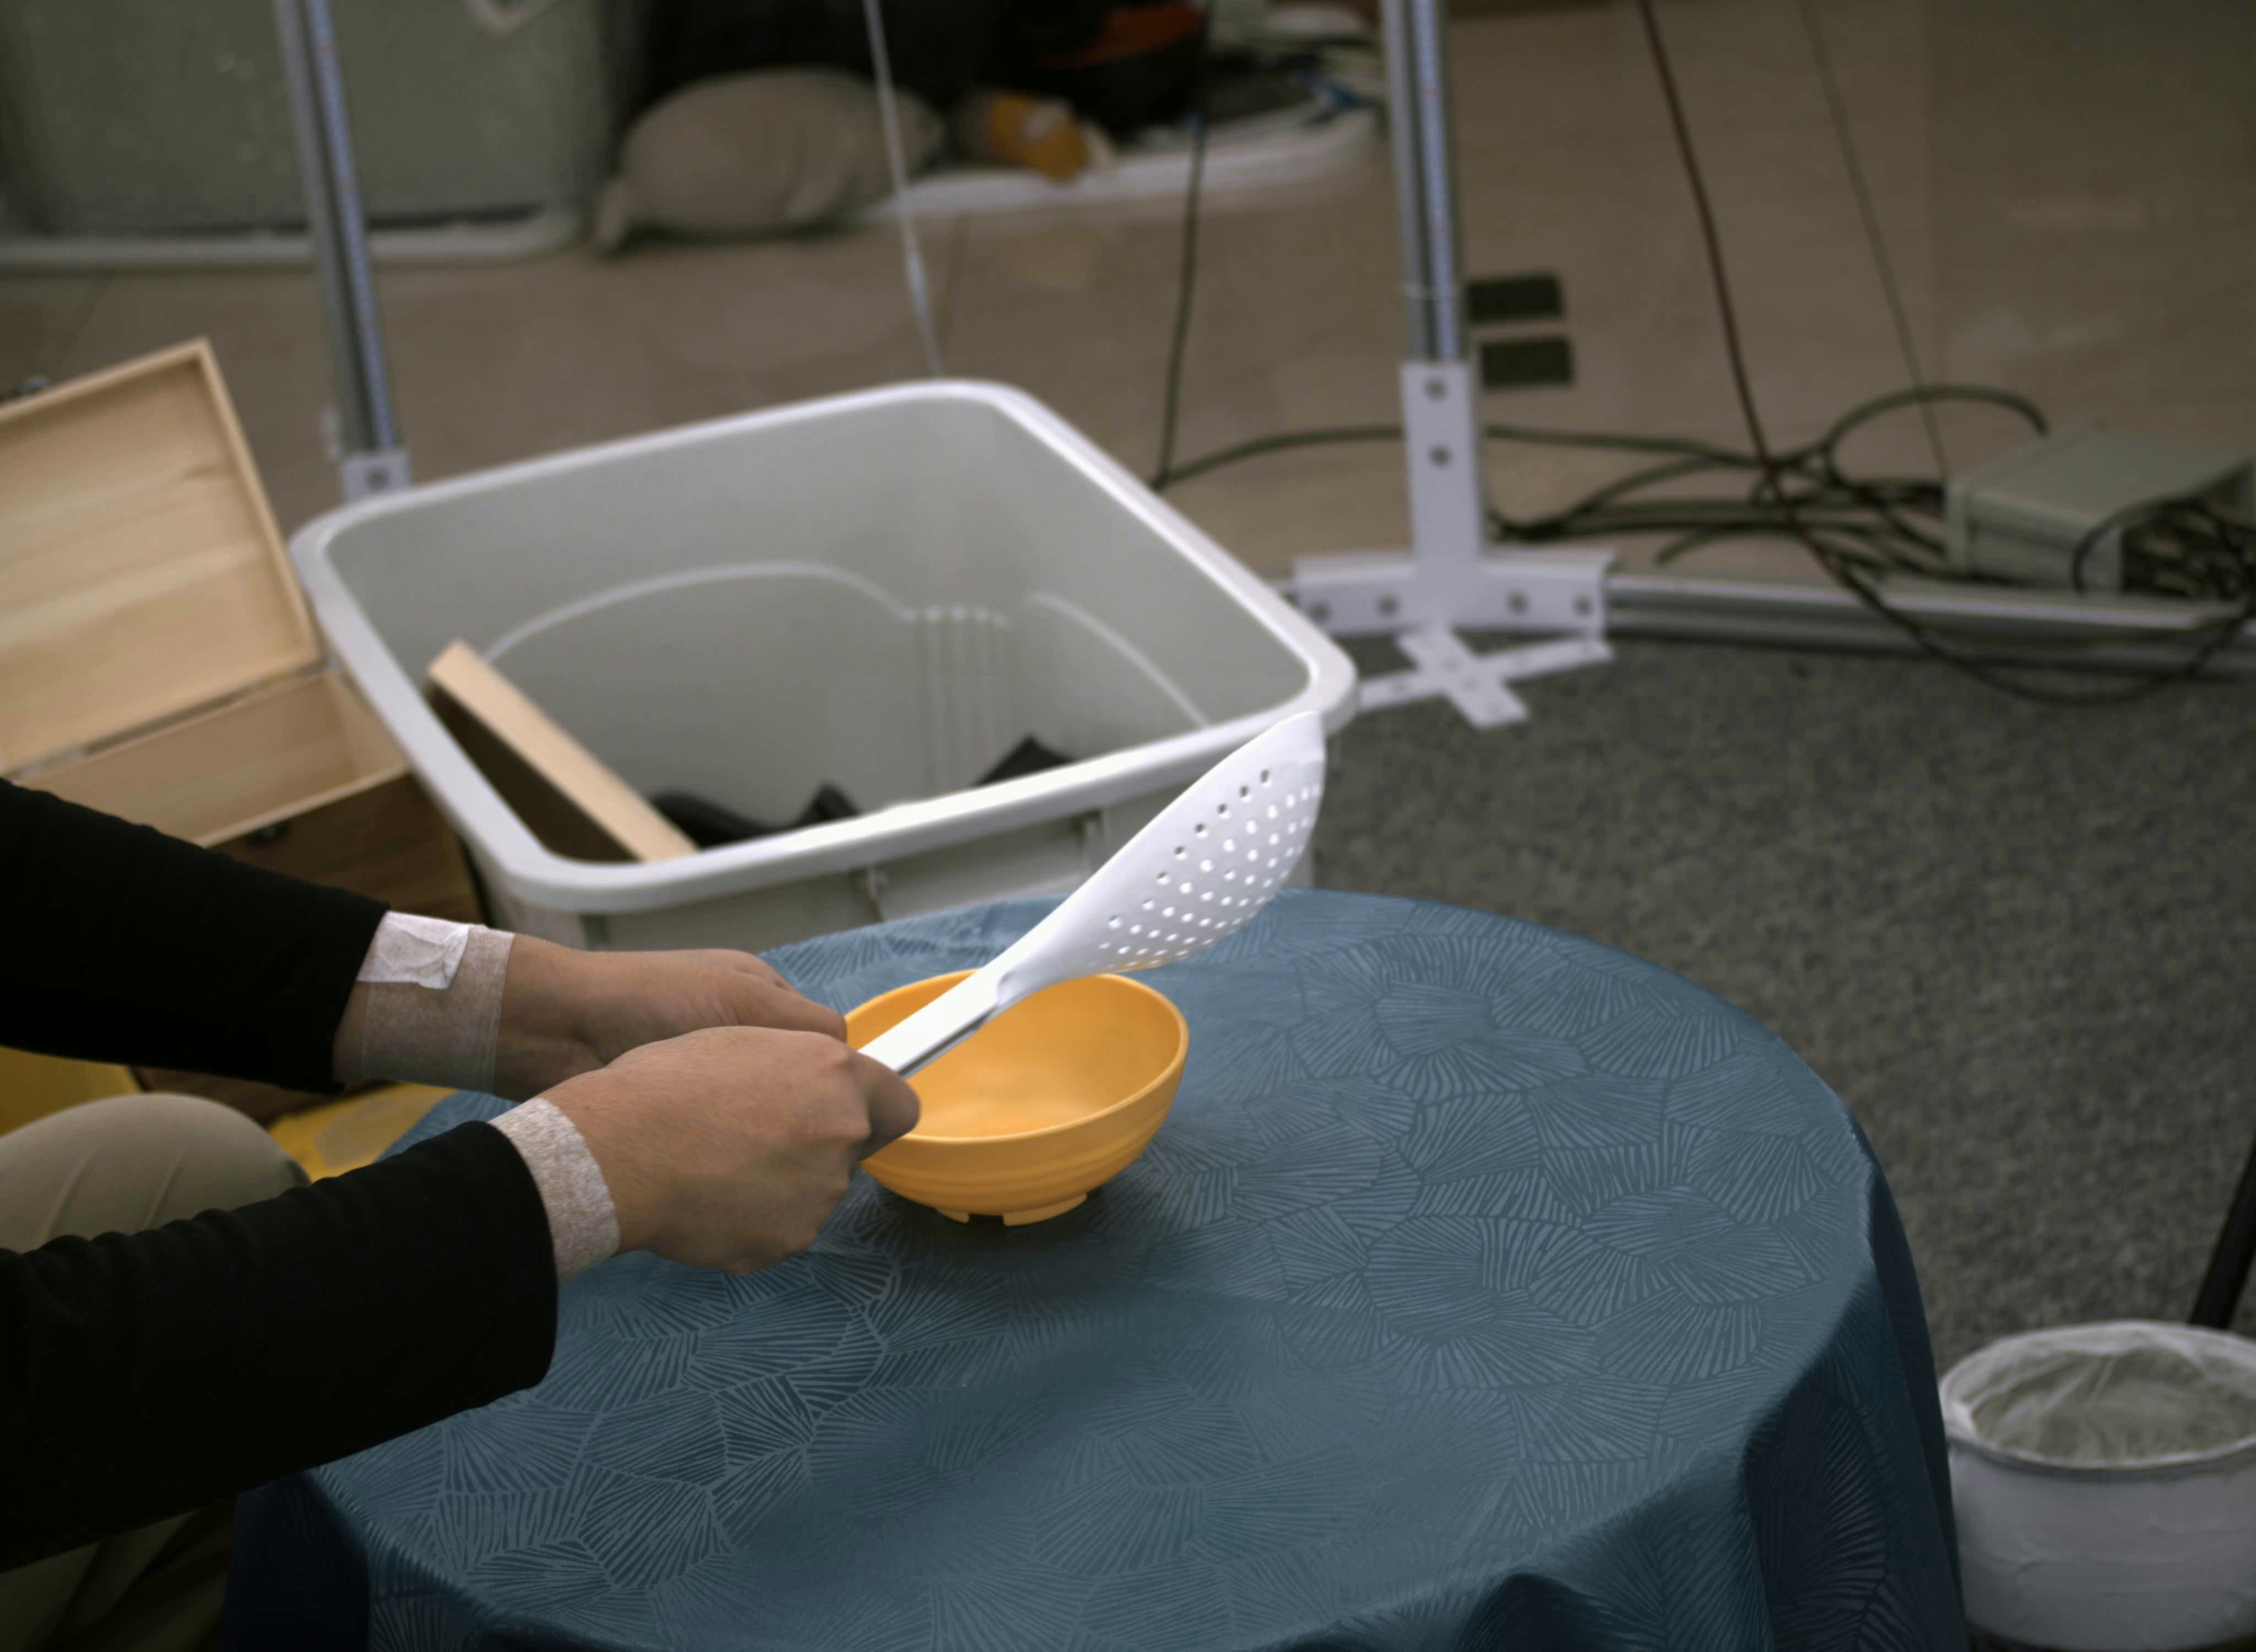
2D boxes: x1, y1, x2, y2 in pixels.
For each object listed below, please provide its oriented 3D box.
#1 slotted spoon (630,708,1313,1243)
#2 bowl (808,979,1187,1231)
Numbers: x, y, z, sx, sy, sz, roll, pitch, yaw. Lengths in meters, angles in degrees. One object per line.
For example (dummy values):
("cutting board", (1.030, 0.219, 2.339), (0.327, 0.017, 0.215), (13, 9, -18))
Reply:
("slotted spoon", (-0.050, 0.056, 2.040), (0.346, 0.138, 0.045), (-28, 74, -36))
("bowl", (-0.047, 0.113, 2.148), (0.145, 0.061, 0.143), (-5, 23, 2))
